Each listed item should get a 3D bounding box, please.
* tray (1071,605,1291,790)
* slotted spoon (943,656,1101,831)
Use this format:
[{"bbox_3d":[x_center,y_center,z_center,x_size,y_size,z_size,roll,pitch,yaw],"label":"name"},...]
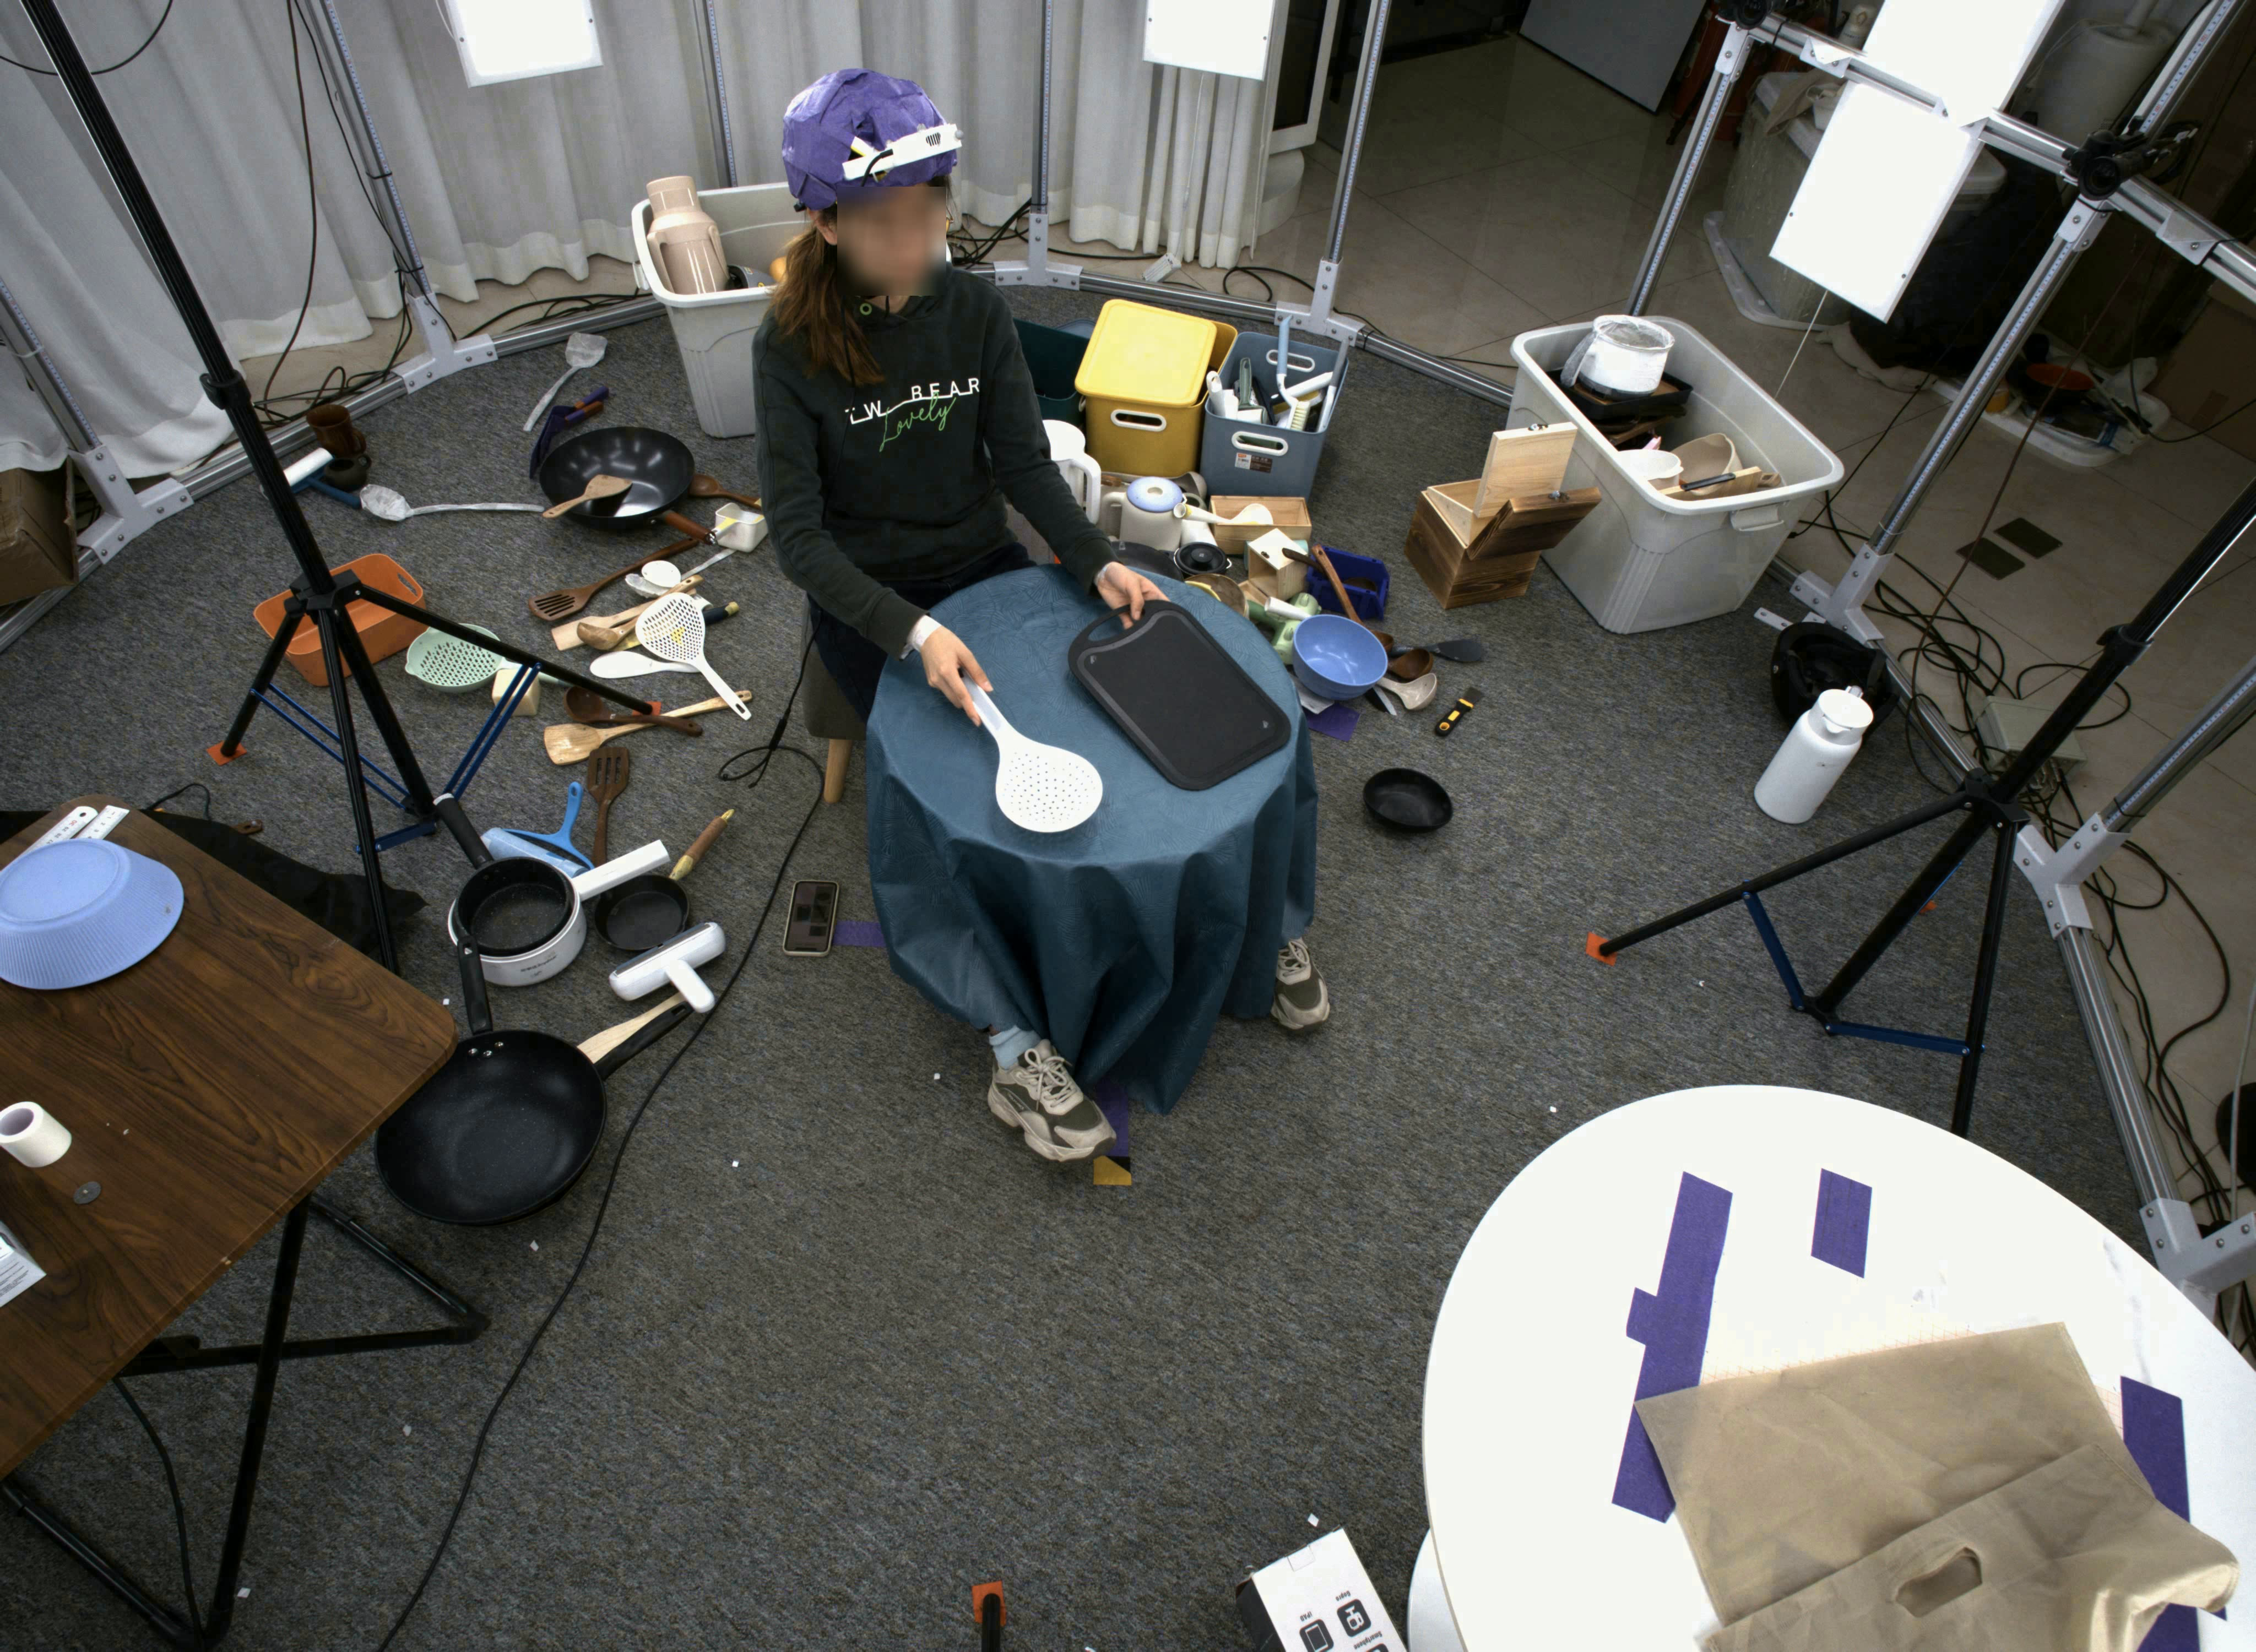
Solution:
[{"bbox_3d":[0.068,-0.195,1.829,0.212,0.009,0.331,-29,62,-23],"label":"tray"},{"bbox_3d":[-0.160,-0.116,1.725,0.136,0.044,0.356,-25,59,-20],"label":"slotted spoon"}]
